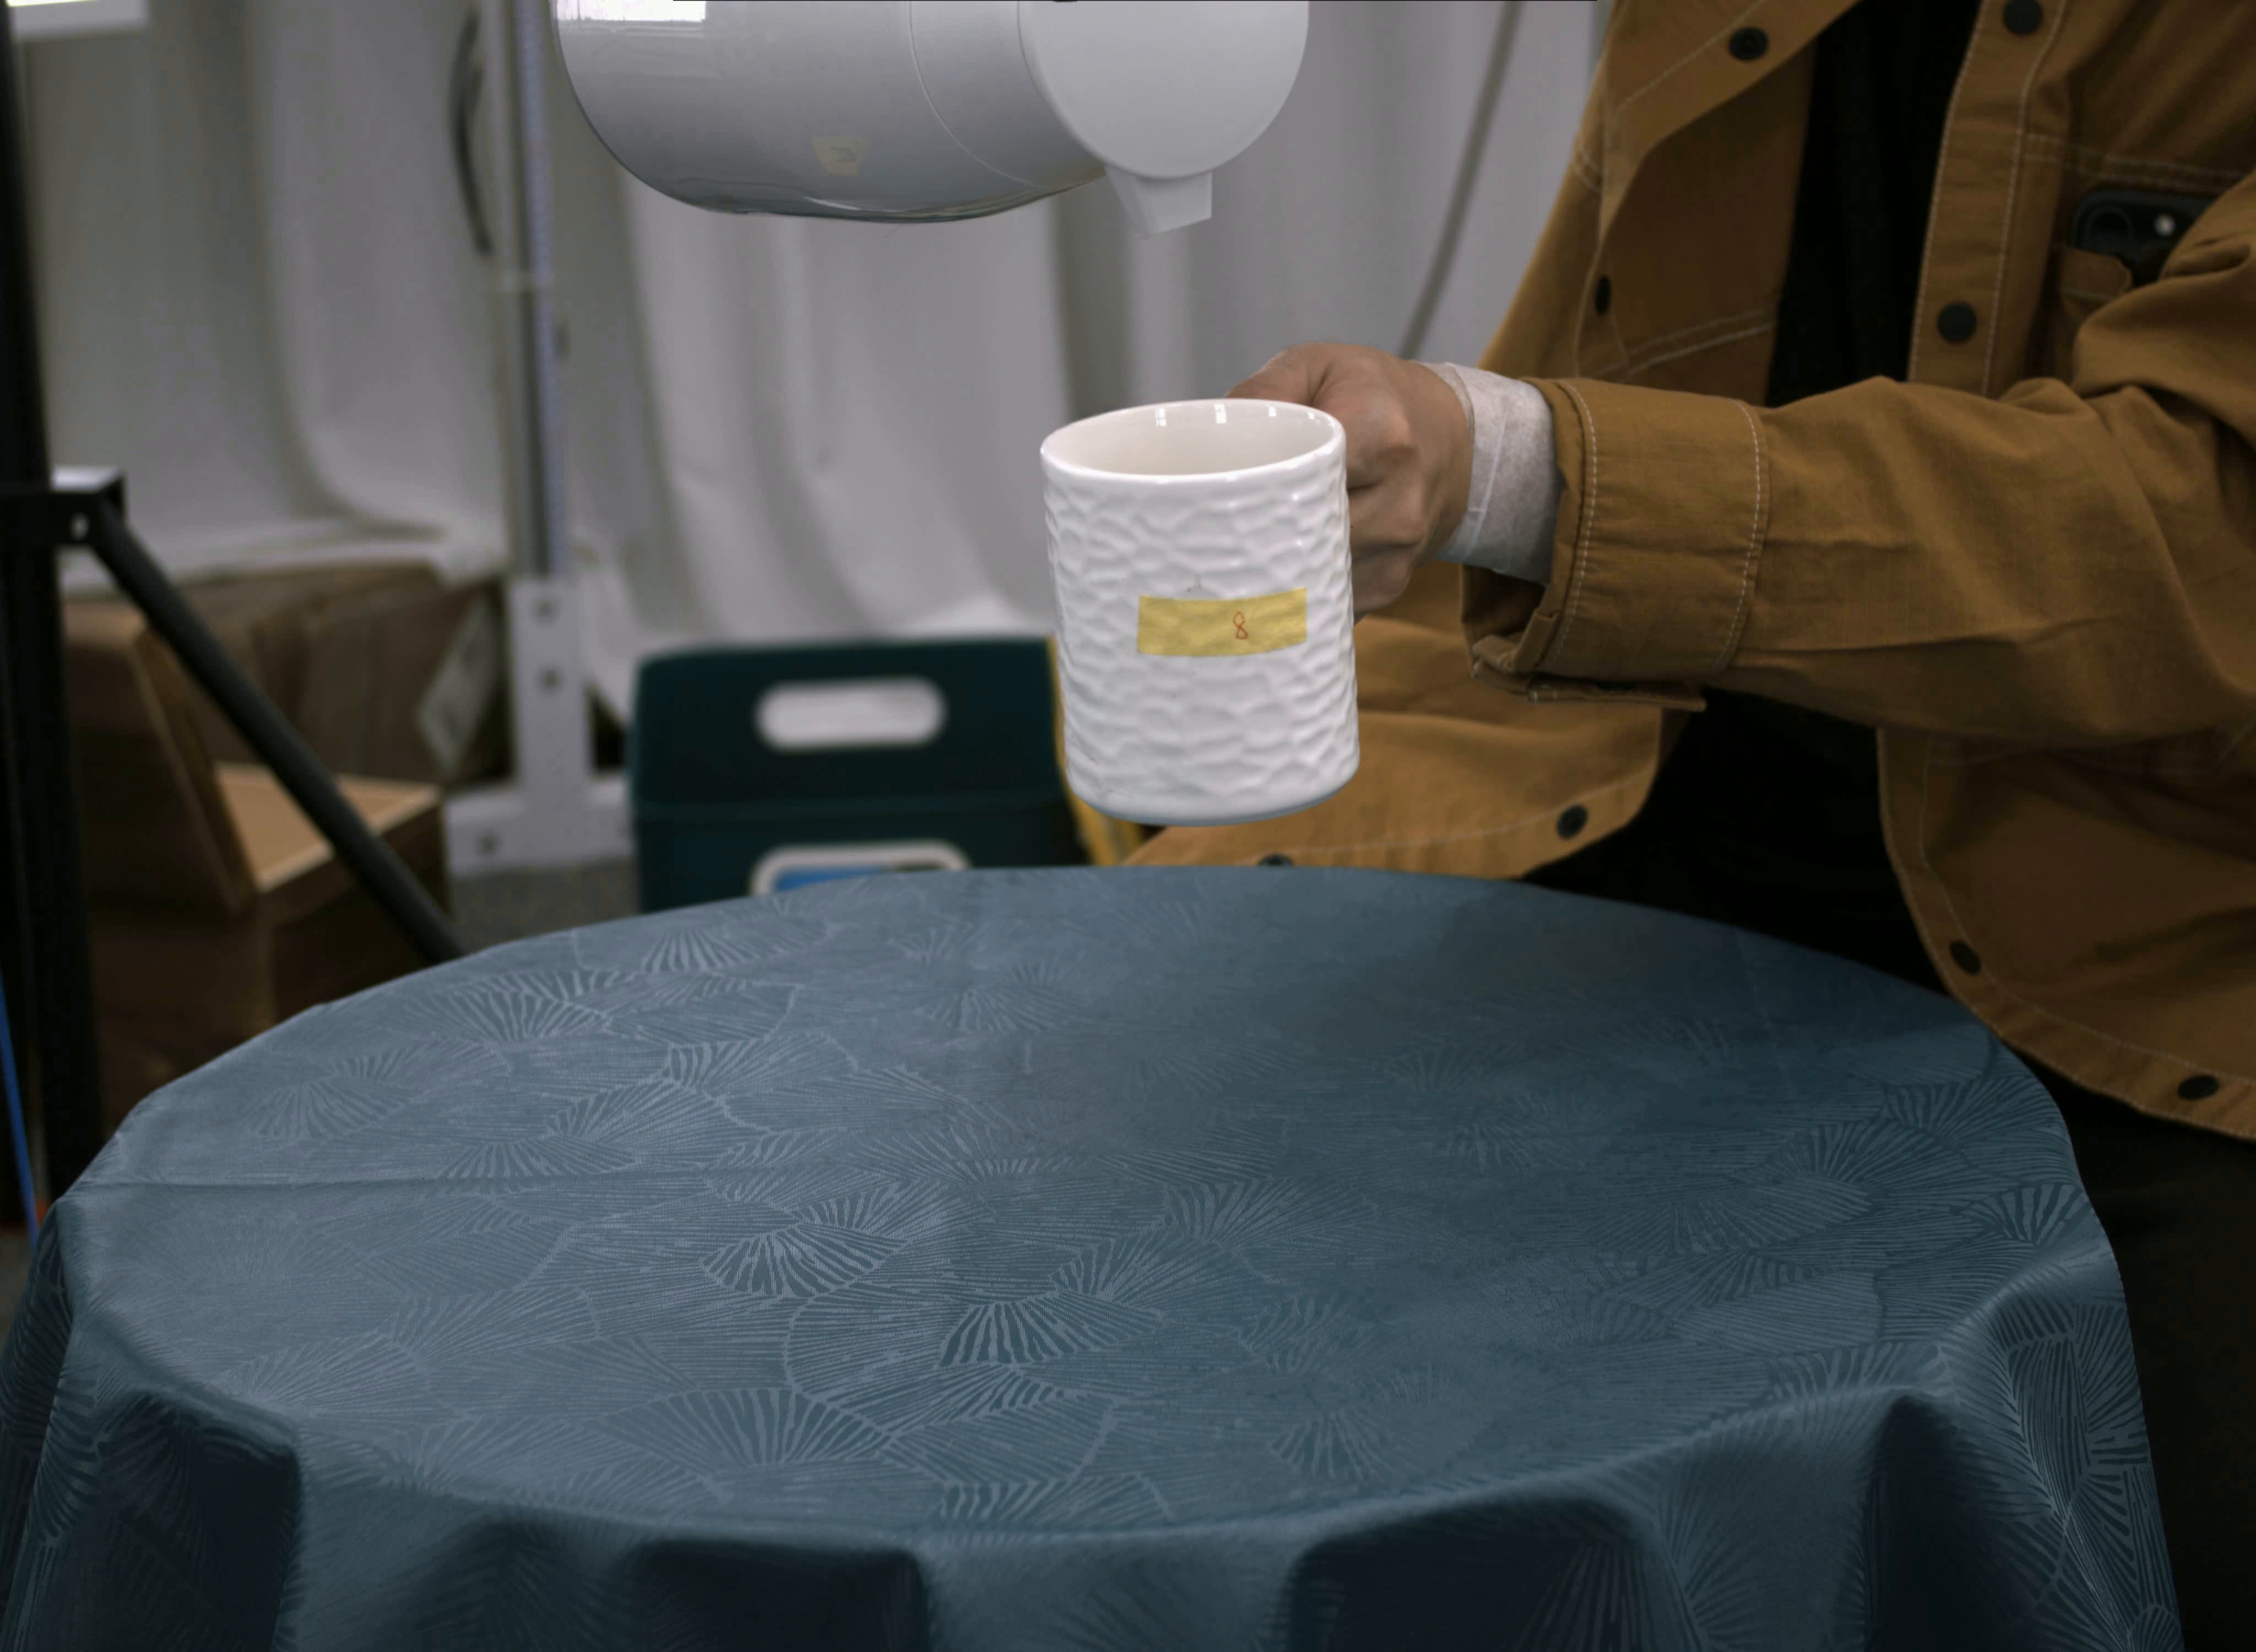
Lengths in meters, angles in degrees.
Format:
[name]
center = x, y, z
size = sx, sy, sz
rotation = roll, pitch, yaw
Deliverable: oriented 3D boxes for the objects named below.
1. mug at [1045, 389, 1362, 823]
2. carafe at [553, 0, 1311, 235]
[mug]
center = 0.025, -0.066, 1.493
size = 0.085, 0.102, 0.117
rotation = 1, 19, 13
[carafe]
center = -0.056, -0.254, 1.525
size = 0.130, 0.167, 0.254
rotation = -21, 18, -27
